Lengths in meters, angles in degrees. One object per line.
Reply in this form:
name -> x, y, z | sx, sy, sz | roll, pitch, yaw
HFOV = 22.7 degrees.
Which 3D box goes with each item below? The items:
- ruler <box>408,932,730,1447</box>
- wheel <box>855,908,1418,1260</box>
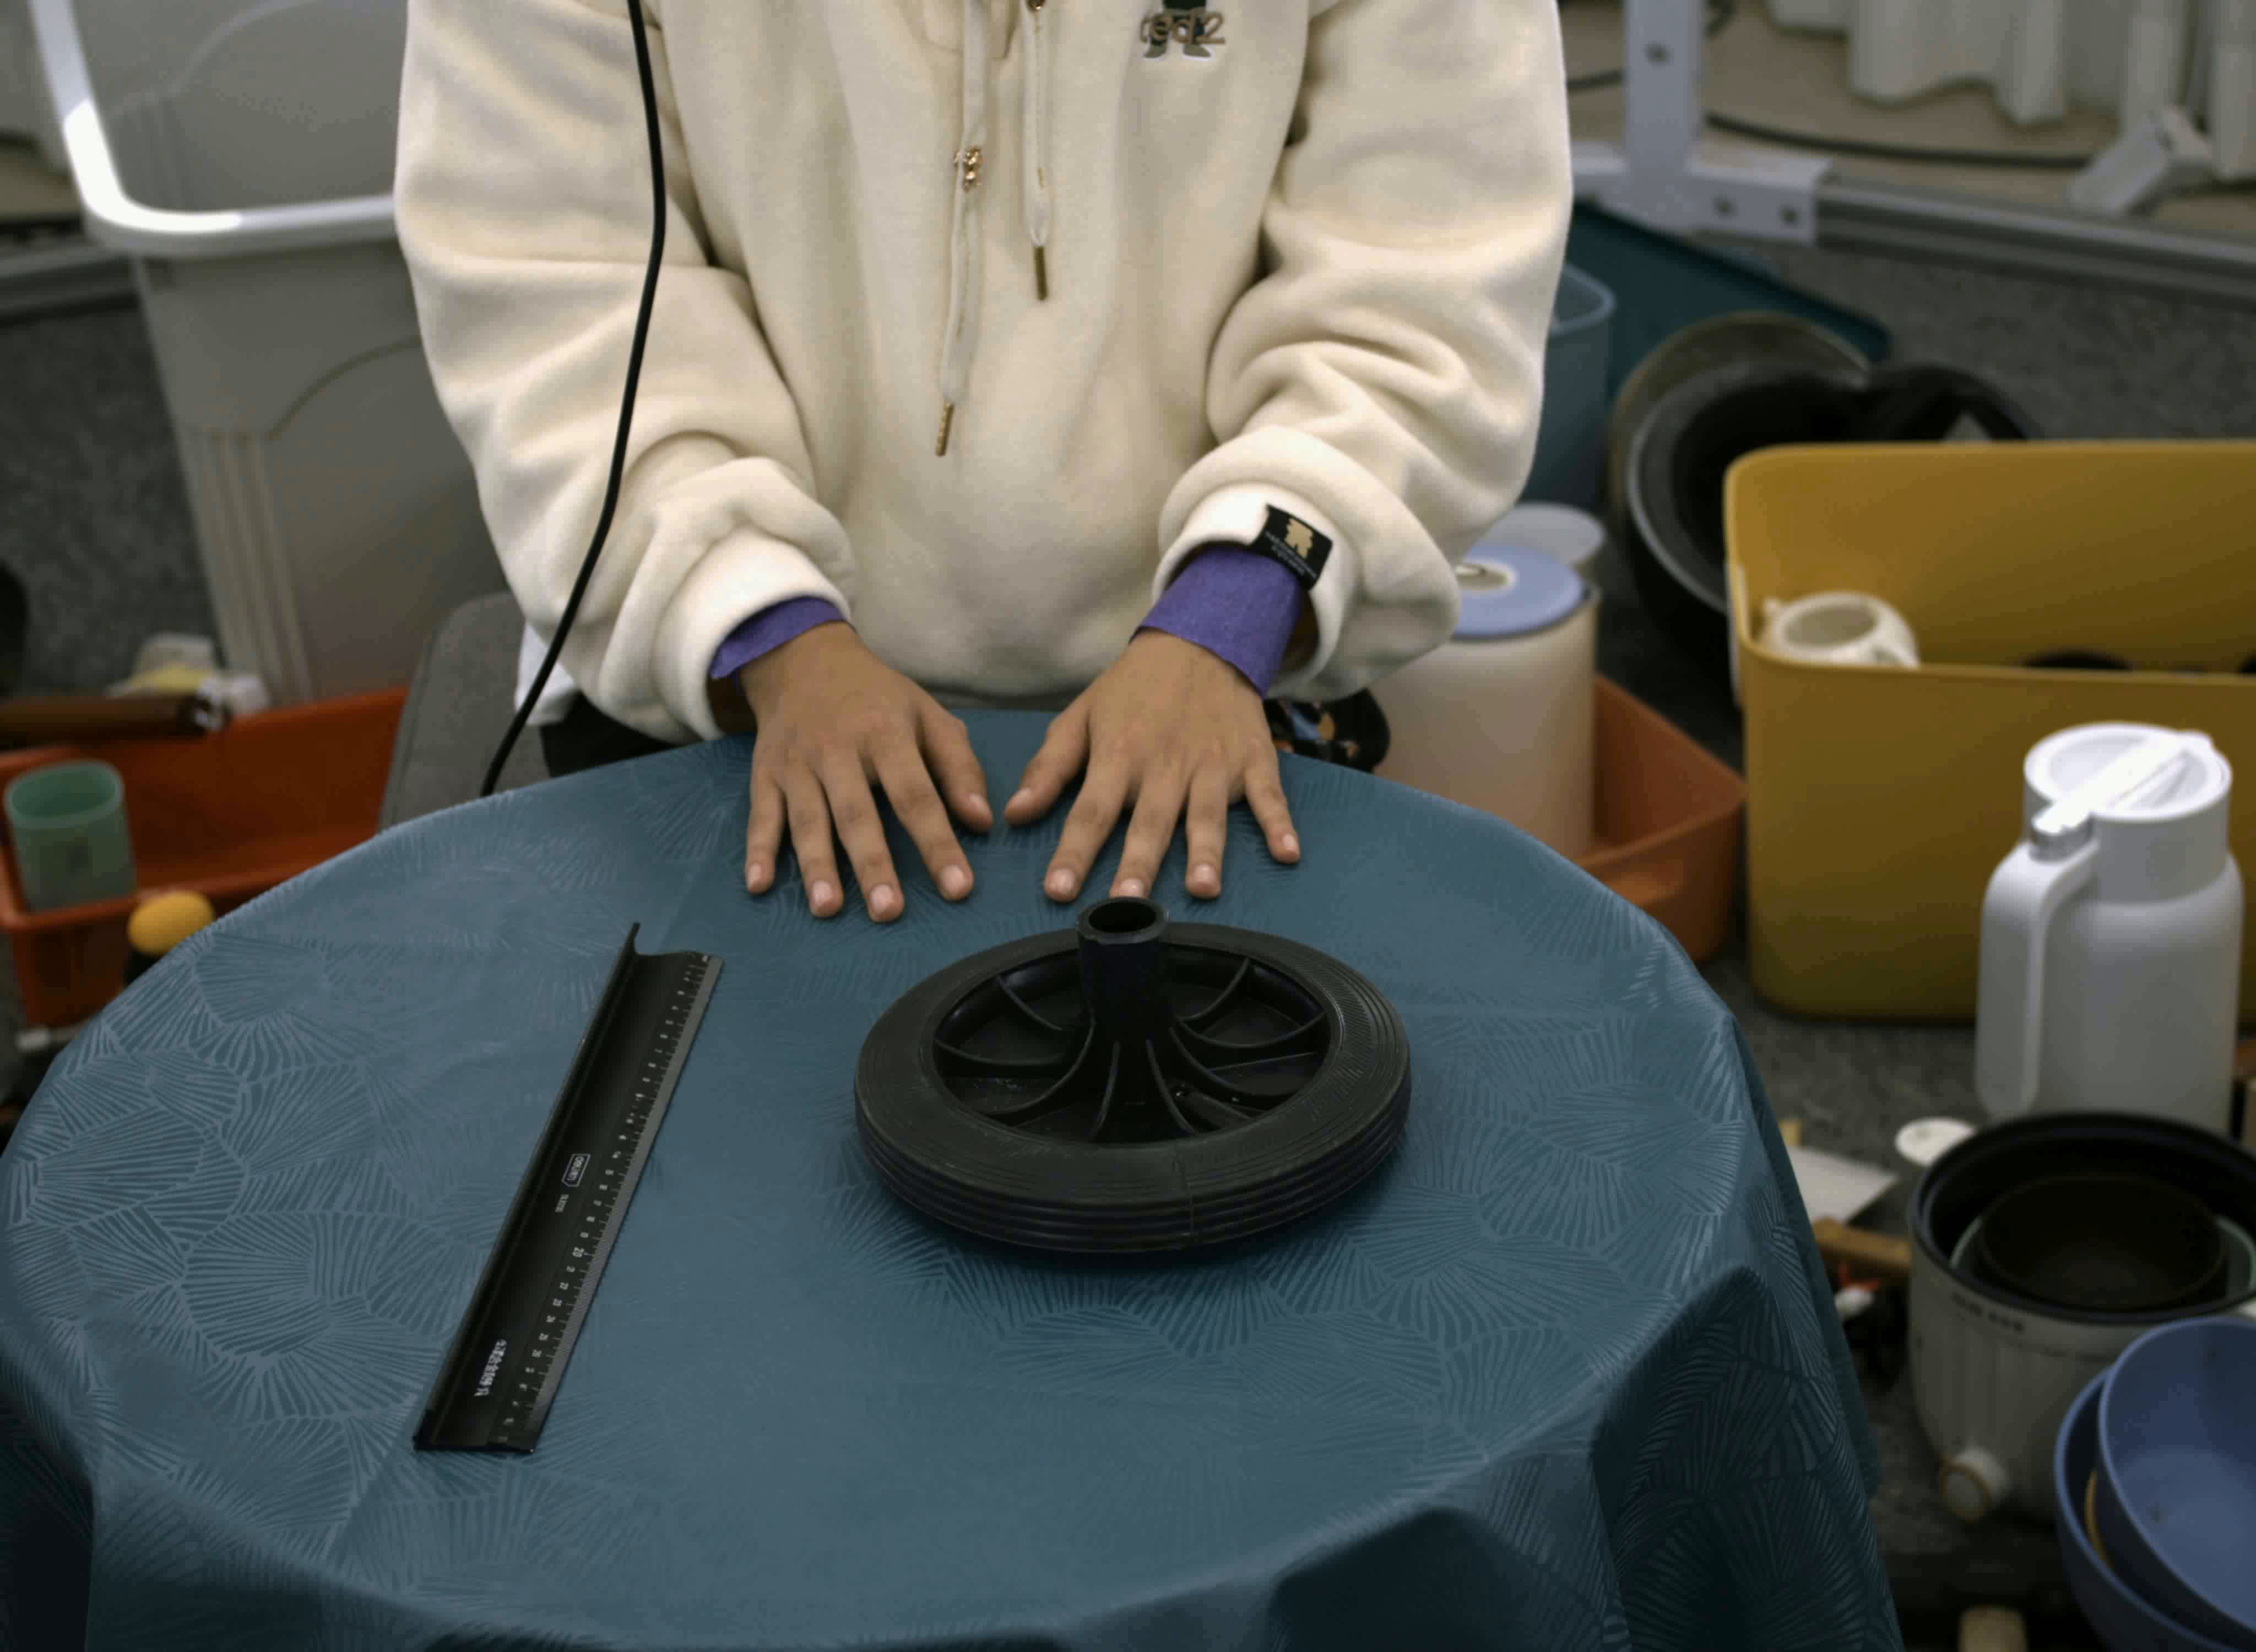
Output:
ruler -> -0.183, 0.116, 1.874 | 0.039, 0.017, 0.318 | 5, 28, 7
wheel -> 0.001, 0.070, 1.880 | 0.188, 0.078, 0.190 | 10, 30, 22
